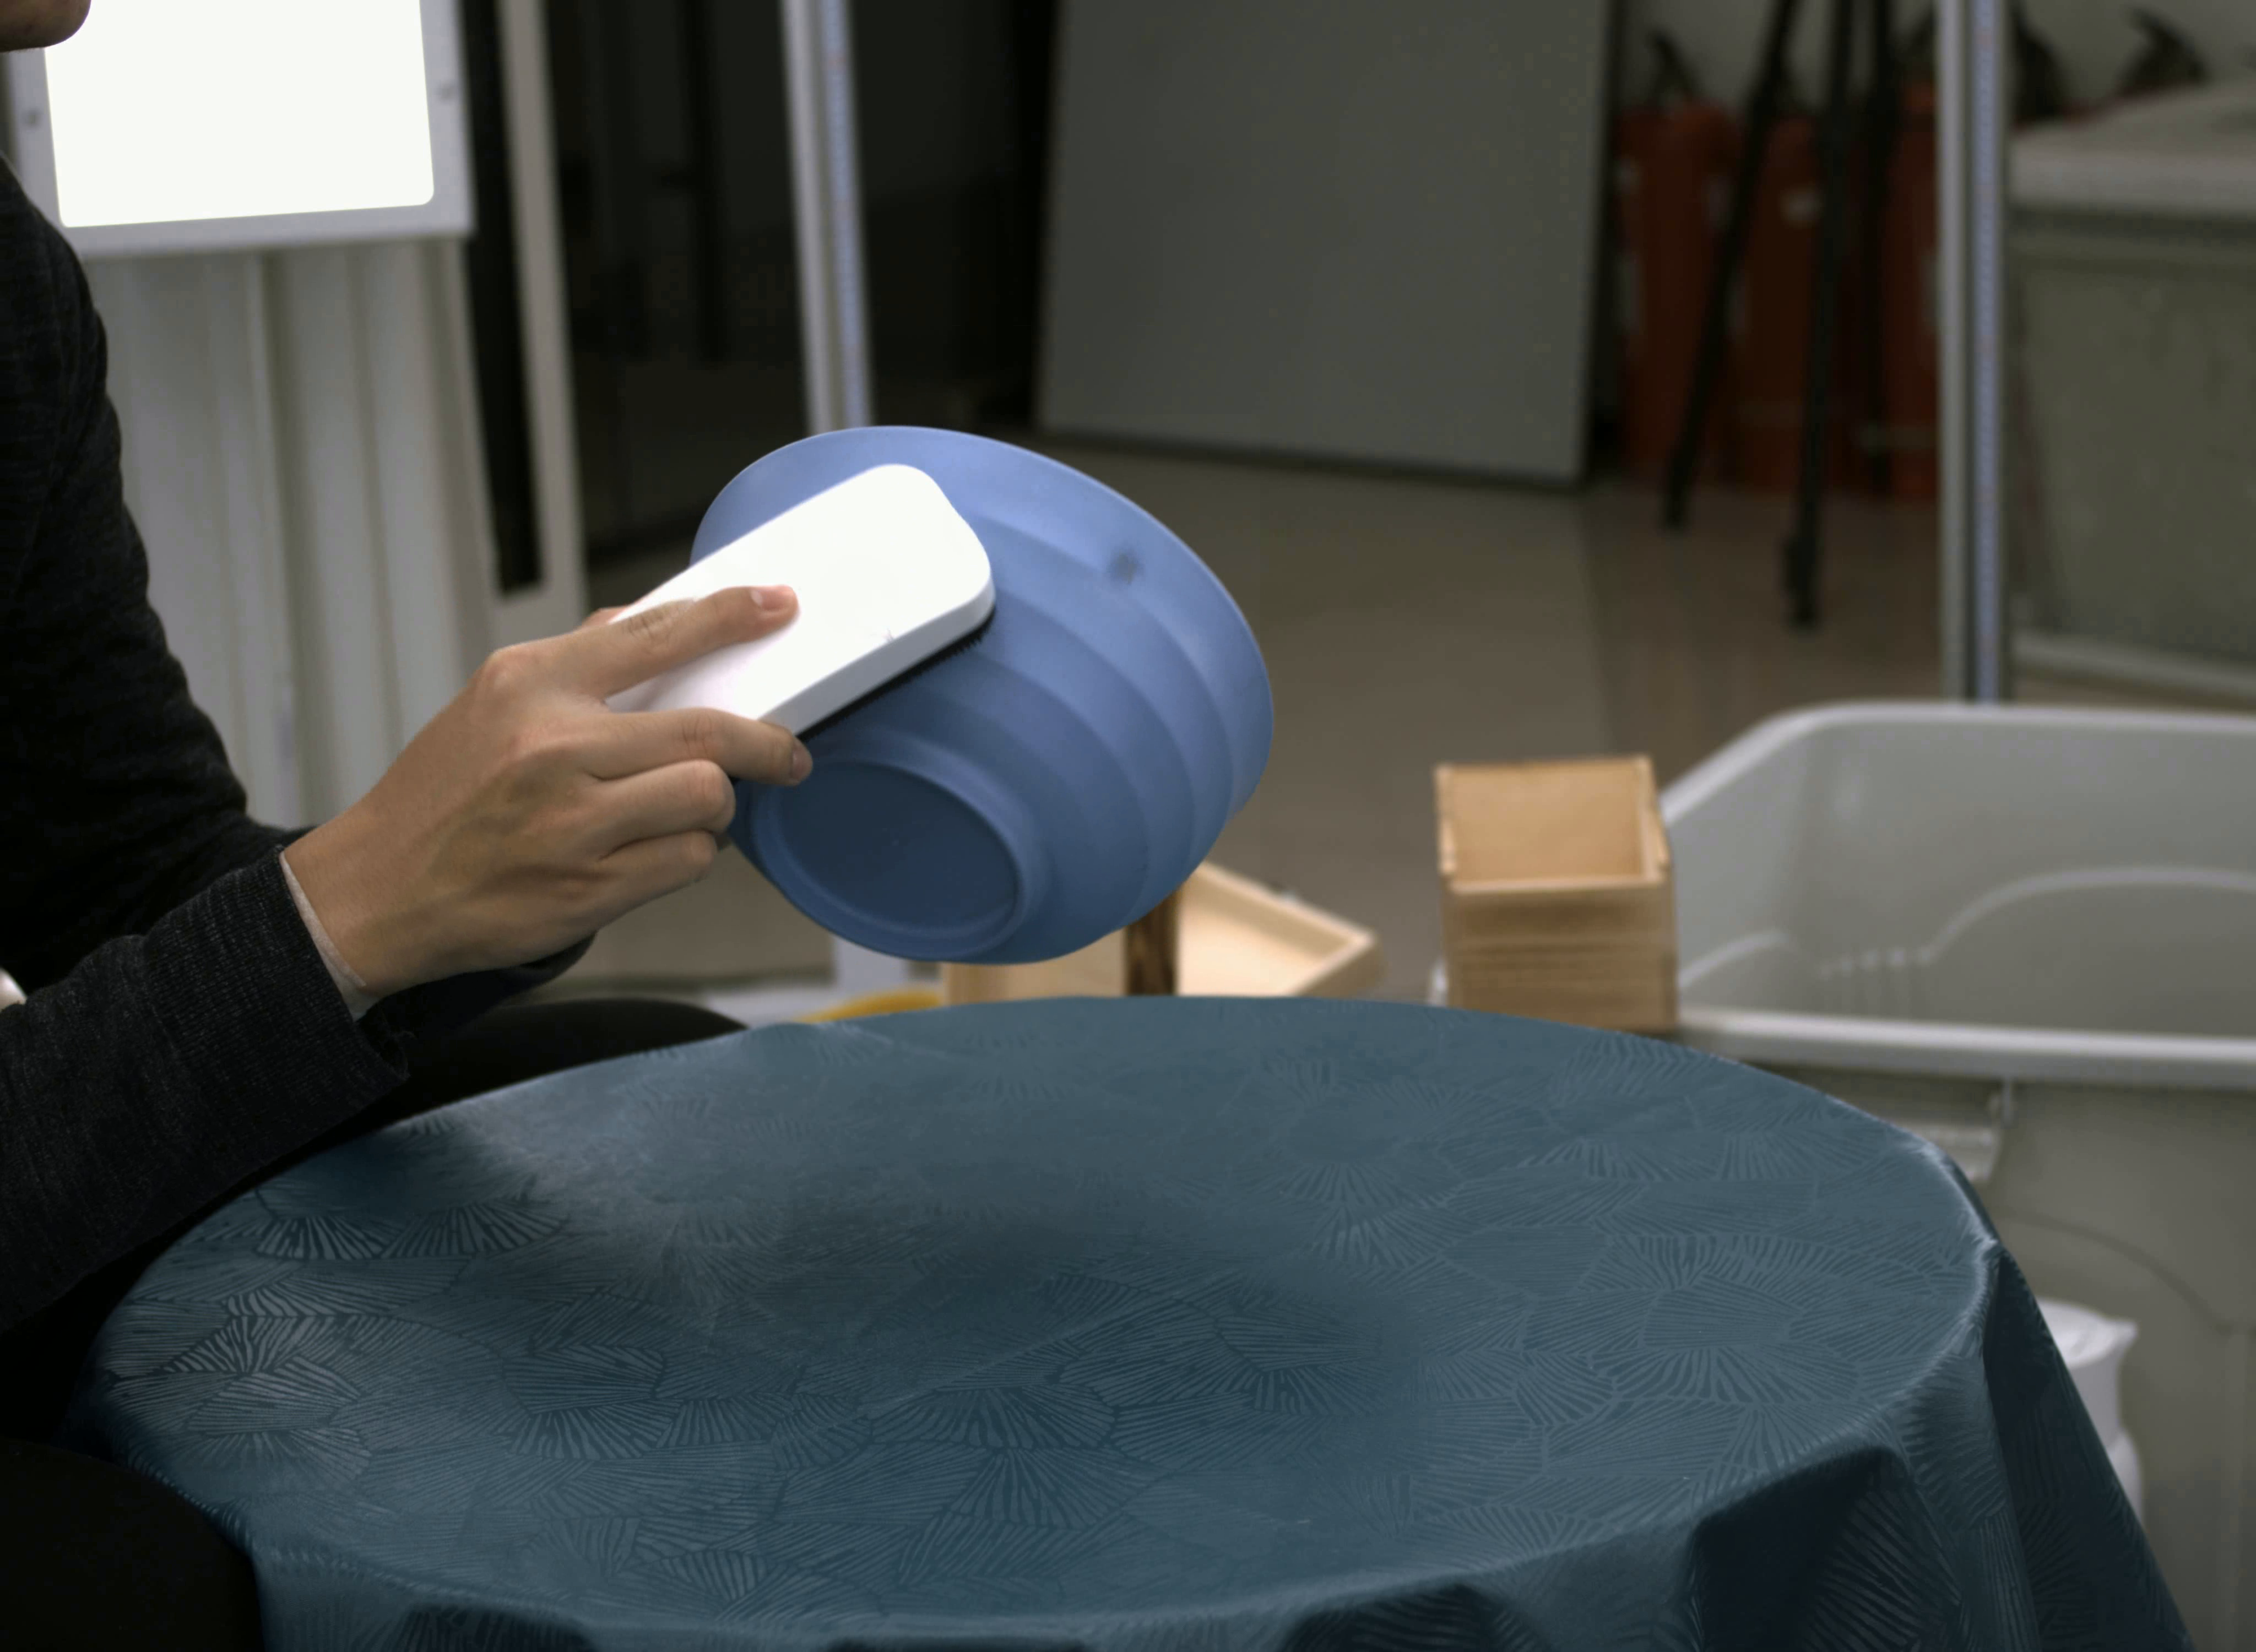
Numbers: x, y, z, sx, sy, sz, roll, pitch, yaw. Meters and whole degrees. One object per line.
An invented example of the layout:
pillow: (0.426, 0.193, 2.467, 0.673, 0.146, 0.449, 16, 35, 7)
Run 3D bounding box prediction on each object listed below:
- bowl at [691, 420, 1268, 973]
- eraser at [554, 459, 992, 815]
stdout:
bowl: (-0.062, -0.022, 1.685, 0.196, 0.196, 0.095, 3, 45, 24)
eraser: (-0.105, -0.058, 1.600, 0.130, 0.034, 0.064, -30, 54, -5)
